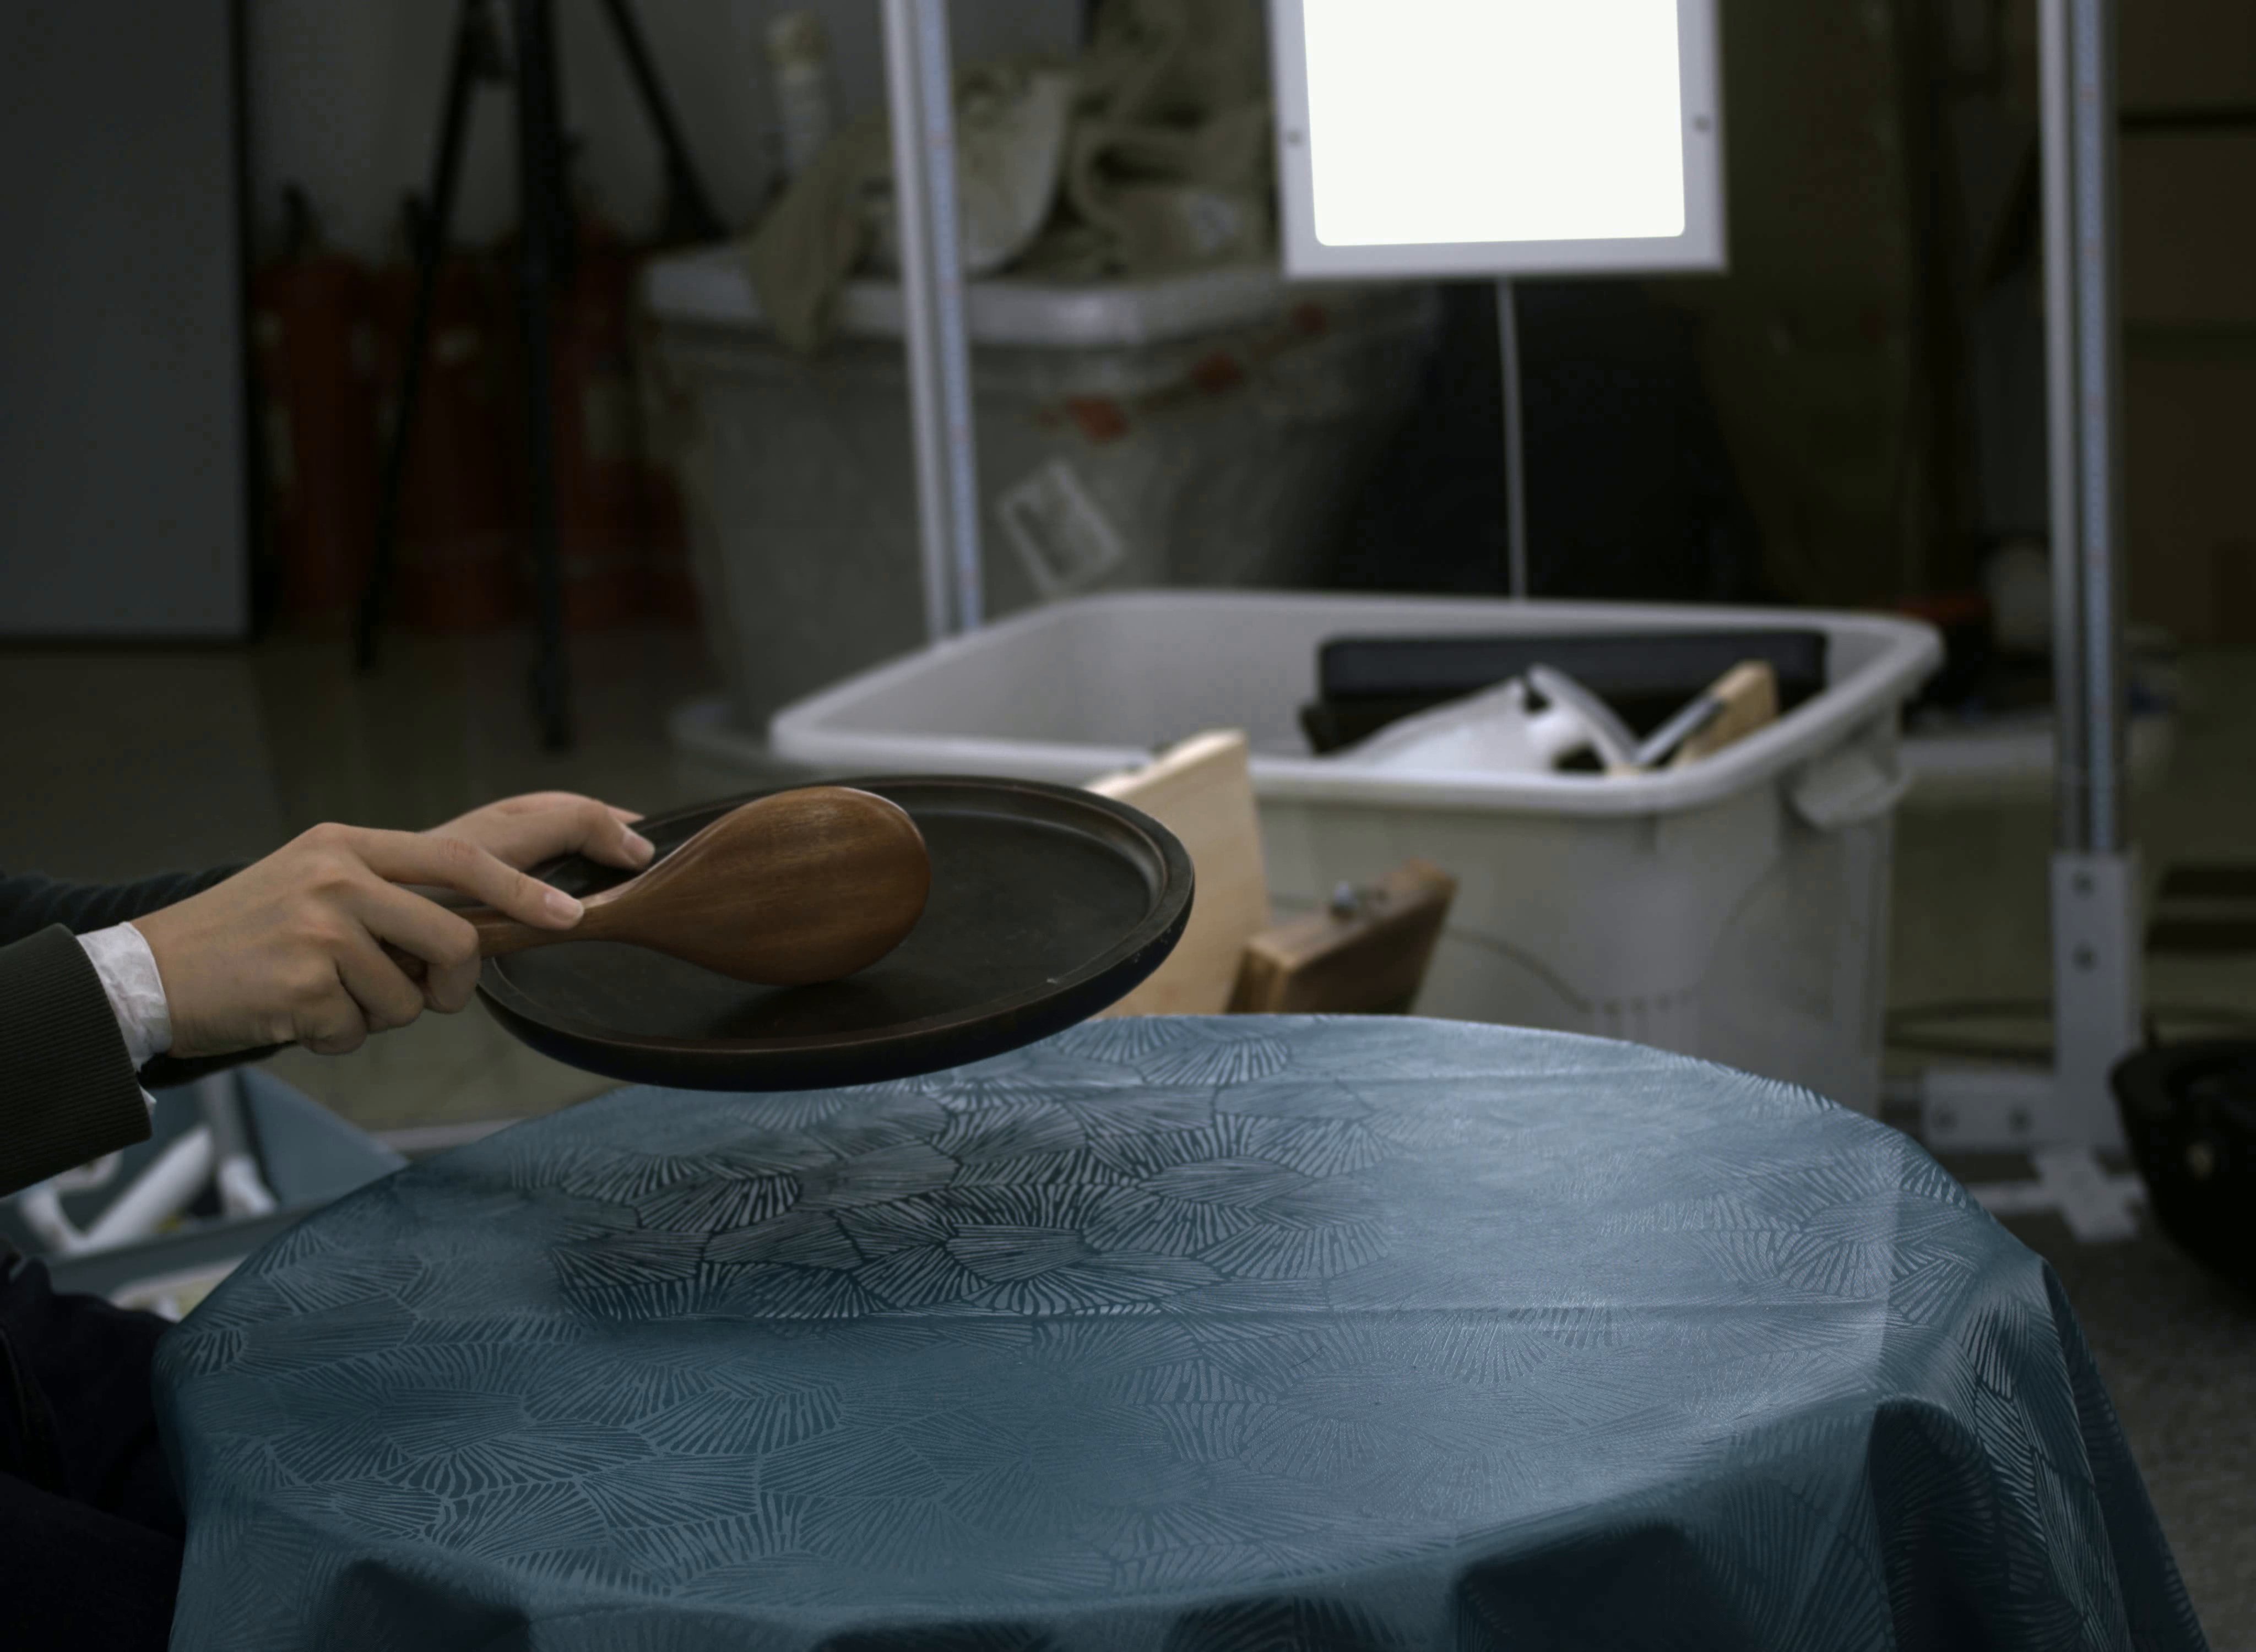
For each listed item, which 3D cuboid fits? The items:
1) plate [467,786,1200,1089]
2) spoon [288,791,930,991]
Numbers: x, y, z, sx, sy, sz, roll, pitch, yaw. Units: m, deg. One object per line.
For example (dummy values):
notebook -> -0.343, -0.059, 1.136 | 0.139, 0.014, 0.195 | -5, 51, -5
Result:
plate -> -0.101, 0.036, 1.897 | 0.254, 0.029, 0.254 | -5, 20, 0
spoon -> -0.169, 0.030, 1.821 | 0.213, 0.076, 0.017 | -6, 31, -10
